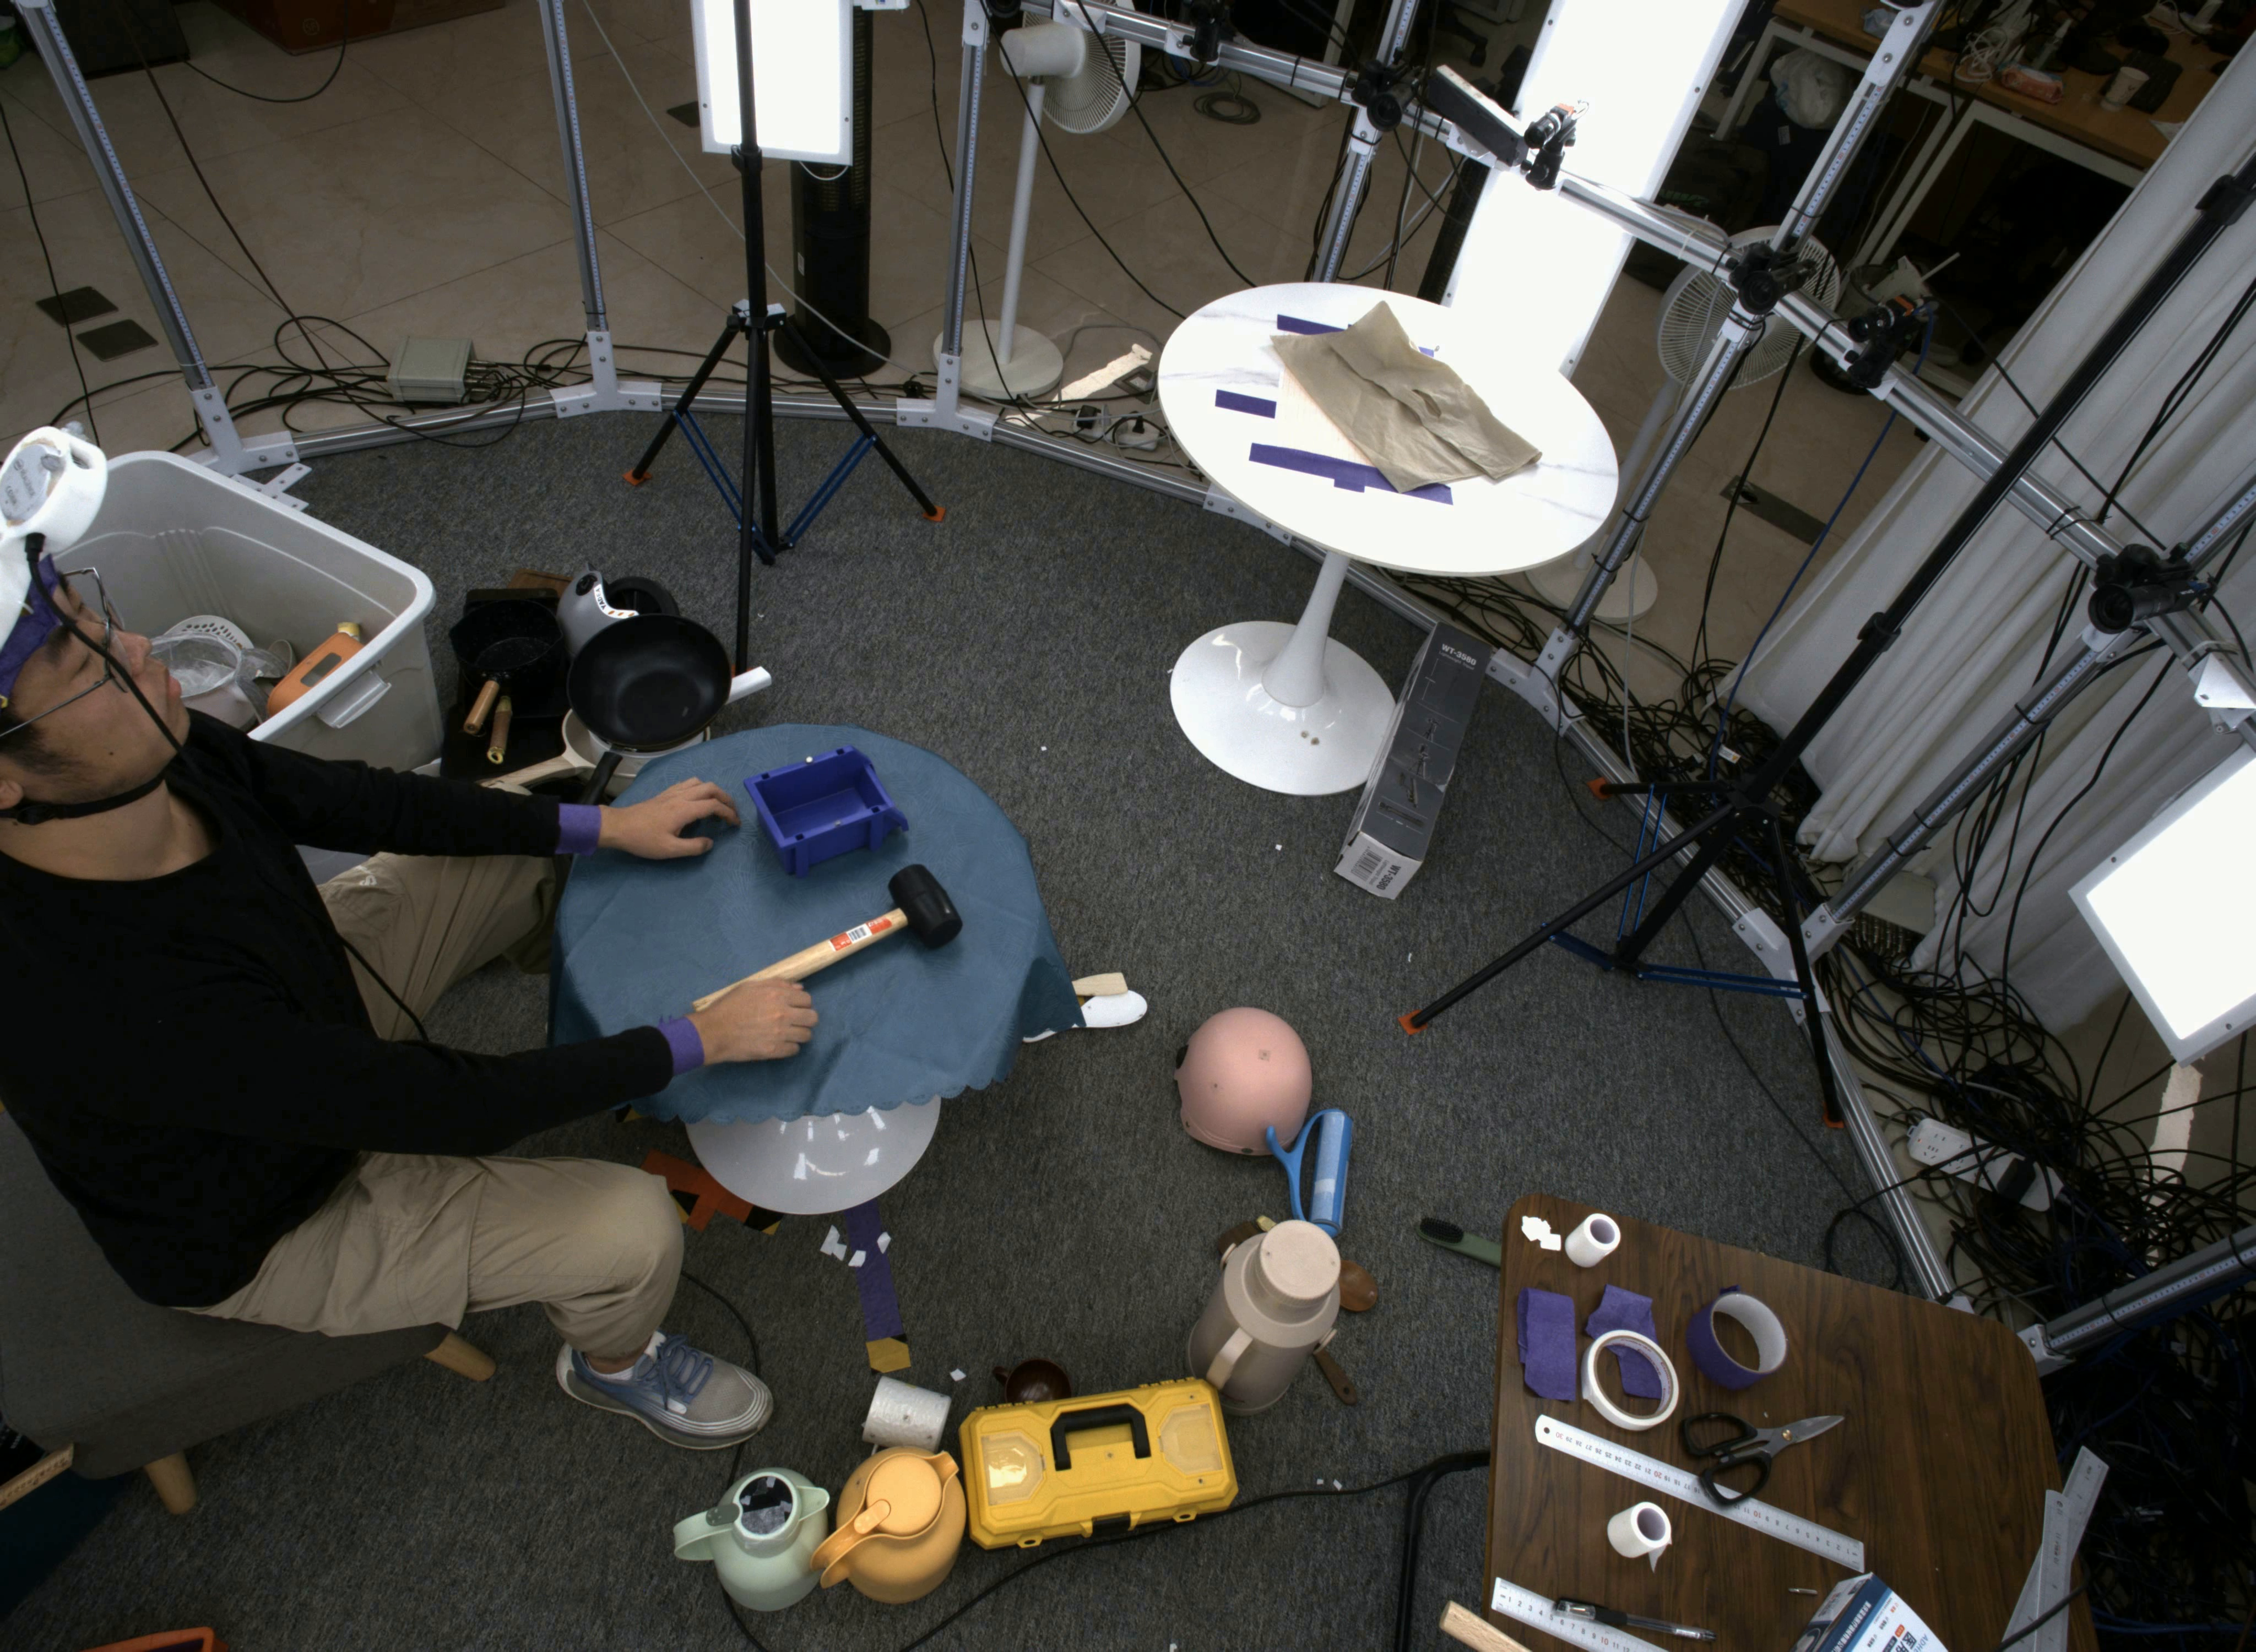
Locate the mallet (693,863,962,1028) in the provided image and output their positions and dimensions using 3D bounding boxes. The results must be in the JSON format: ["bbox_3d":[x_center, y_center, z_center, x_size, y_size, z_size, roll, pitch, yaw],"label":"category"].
[{"bbox_3d":[-0.368,0.150,1.585,0.340,0.066,0.099,-24,58,-28],"label":"mallet"}]

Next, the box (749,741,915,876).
[{"bbox_3d":[-0.386,-0.028,1.700,0.180,0.084,0.121,-23,61,-24],"label":"box"}]
